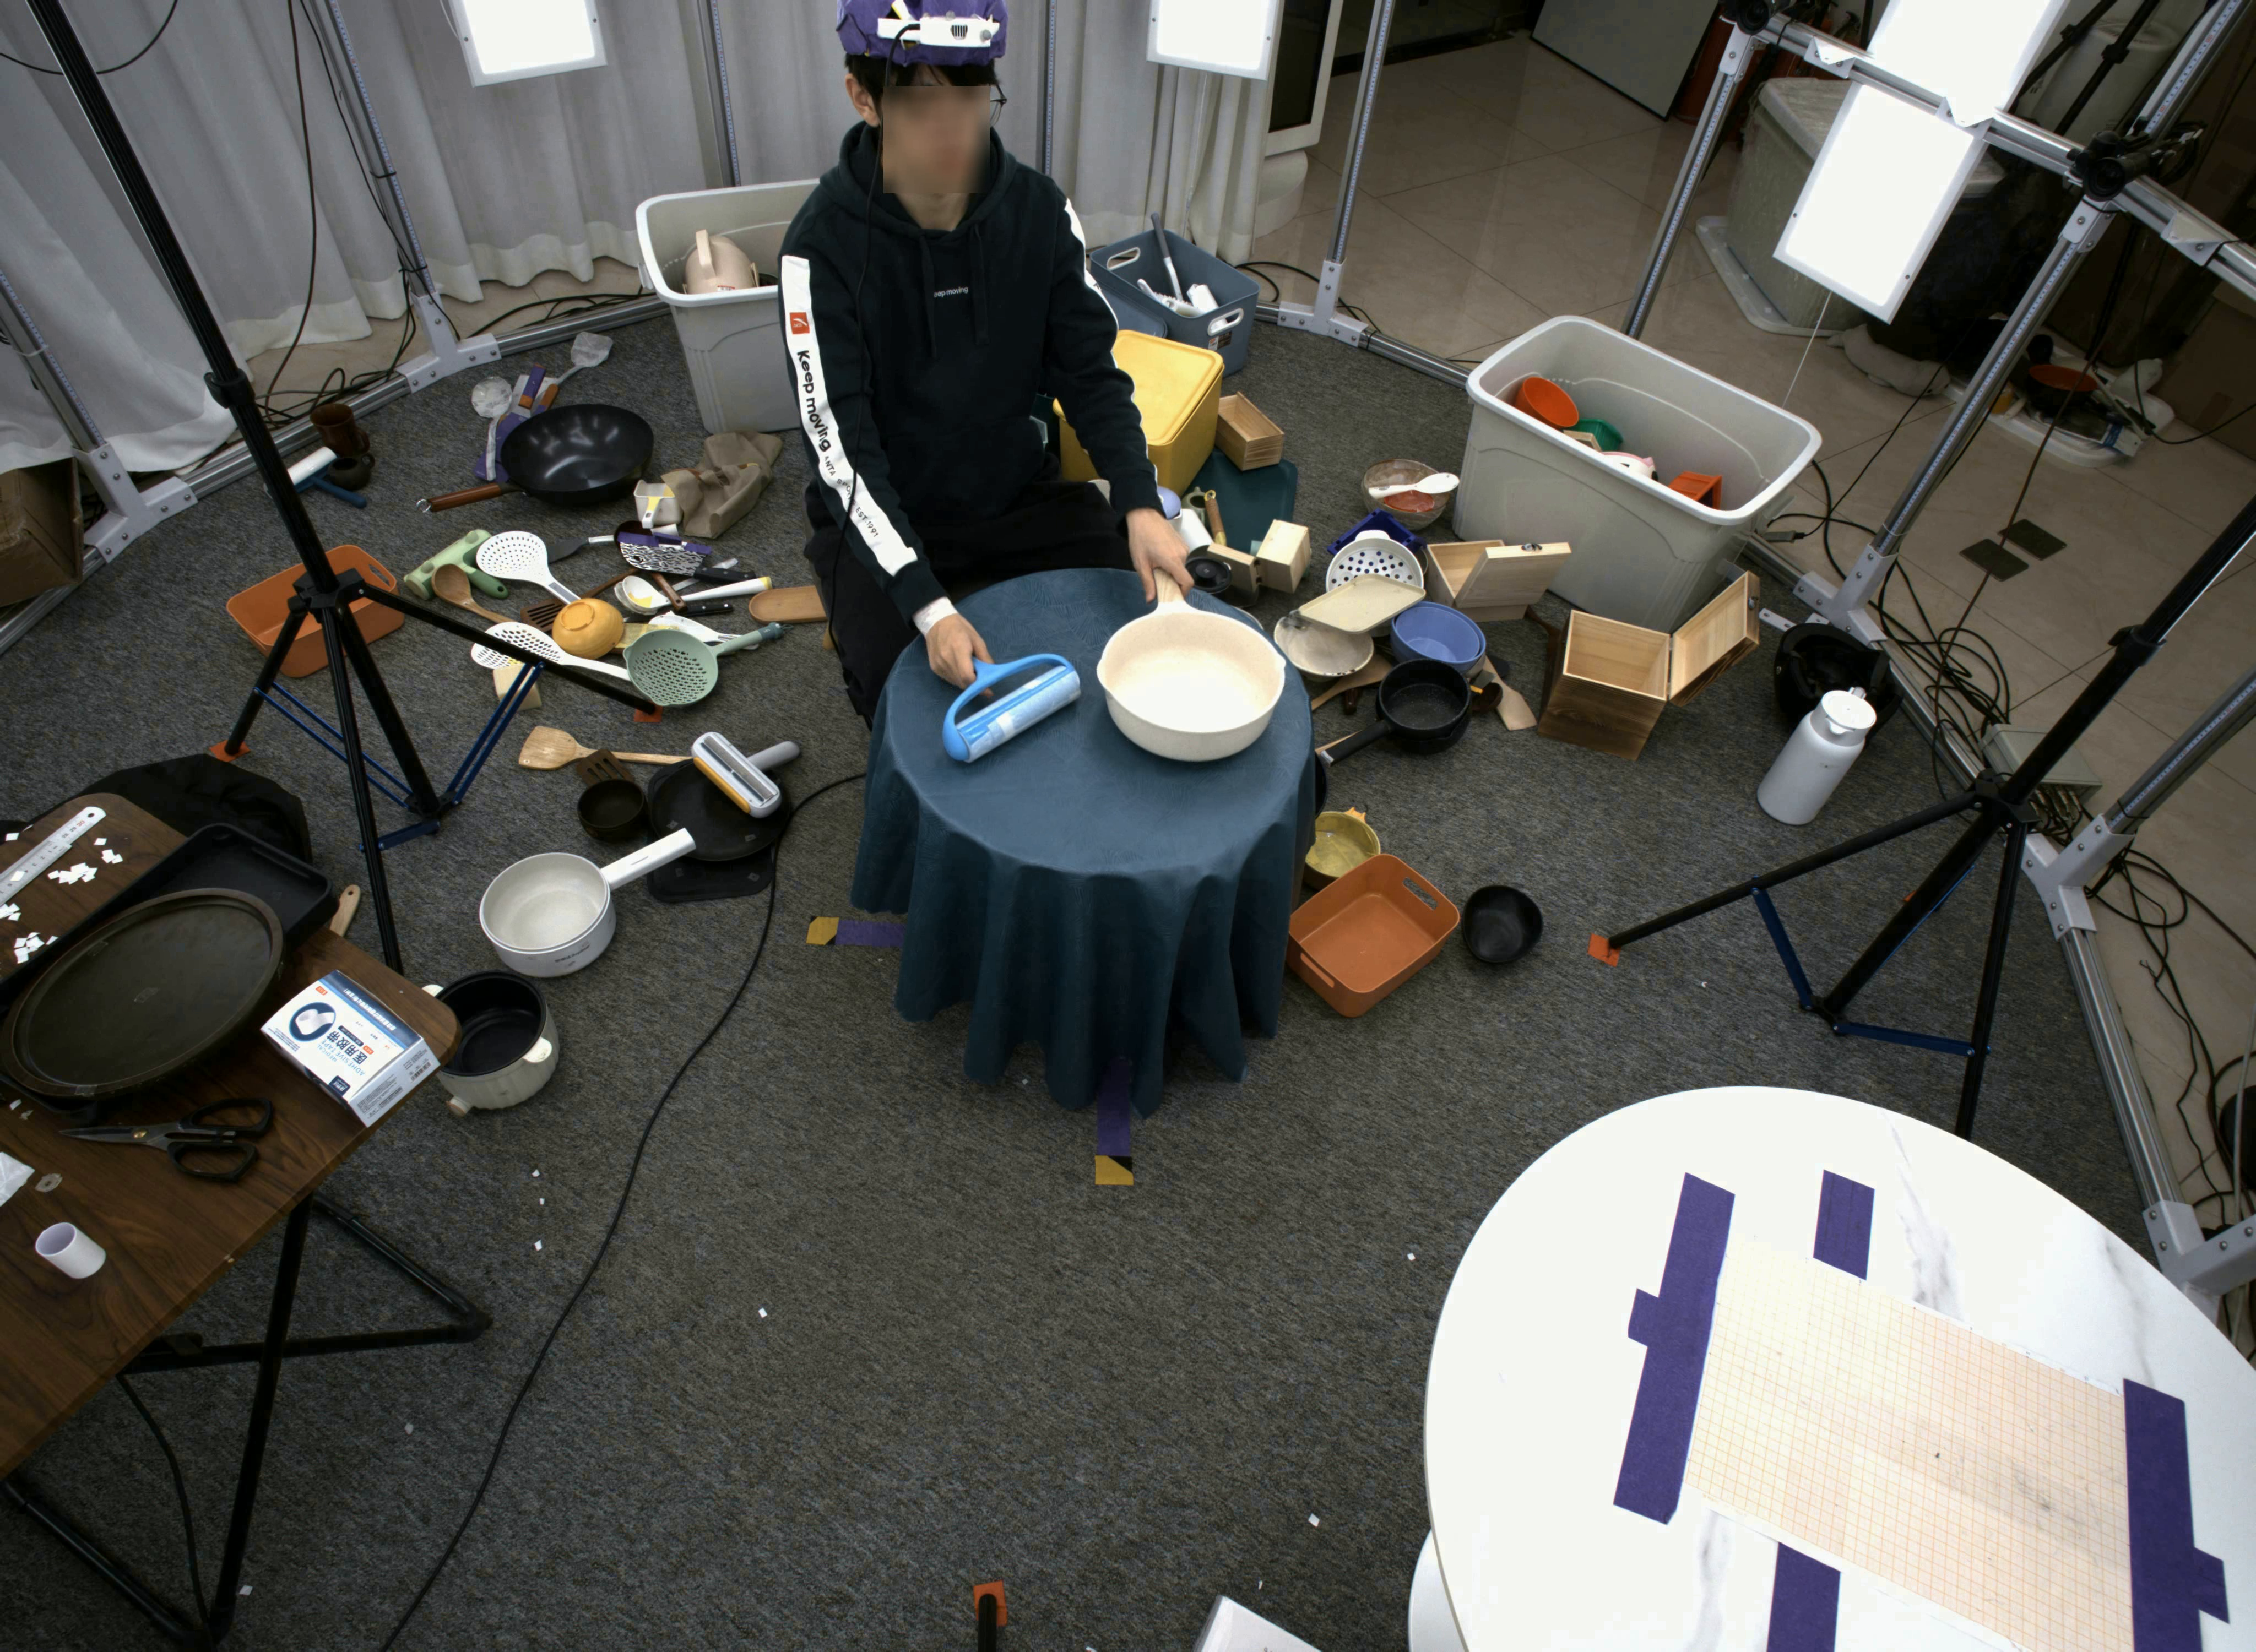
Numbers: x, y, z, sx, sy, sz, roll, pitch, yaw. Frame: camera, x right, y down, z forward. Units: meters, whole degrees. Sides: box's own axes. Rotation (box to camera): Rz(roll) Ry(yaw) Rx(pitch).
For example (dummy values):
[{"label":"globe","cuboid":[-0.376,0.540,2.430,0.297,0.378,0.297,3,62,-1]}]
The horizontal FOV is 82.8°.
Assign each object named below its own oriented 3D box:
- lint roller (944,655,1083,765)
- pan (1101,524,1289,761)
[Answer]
[{"label":"lint roller","cuboid":[-0.194,-0.191,1.780,0.183,0.066,0.231,40,59,22]},{"label":"pan","cuboid":[0.073,-0.263,1.836,0.263,0.099,0.446,-7,48,-9]}]
